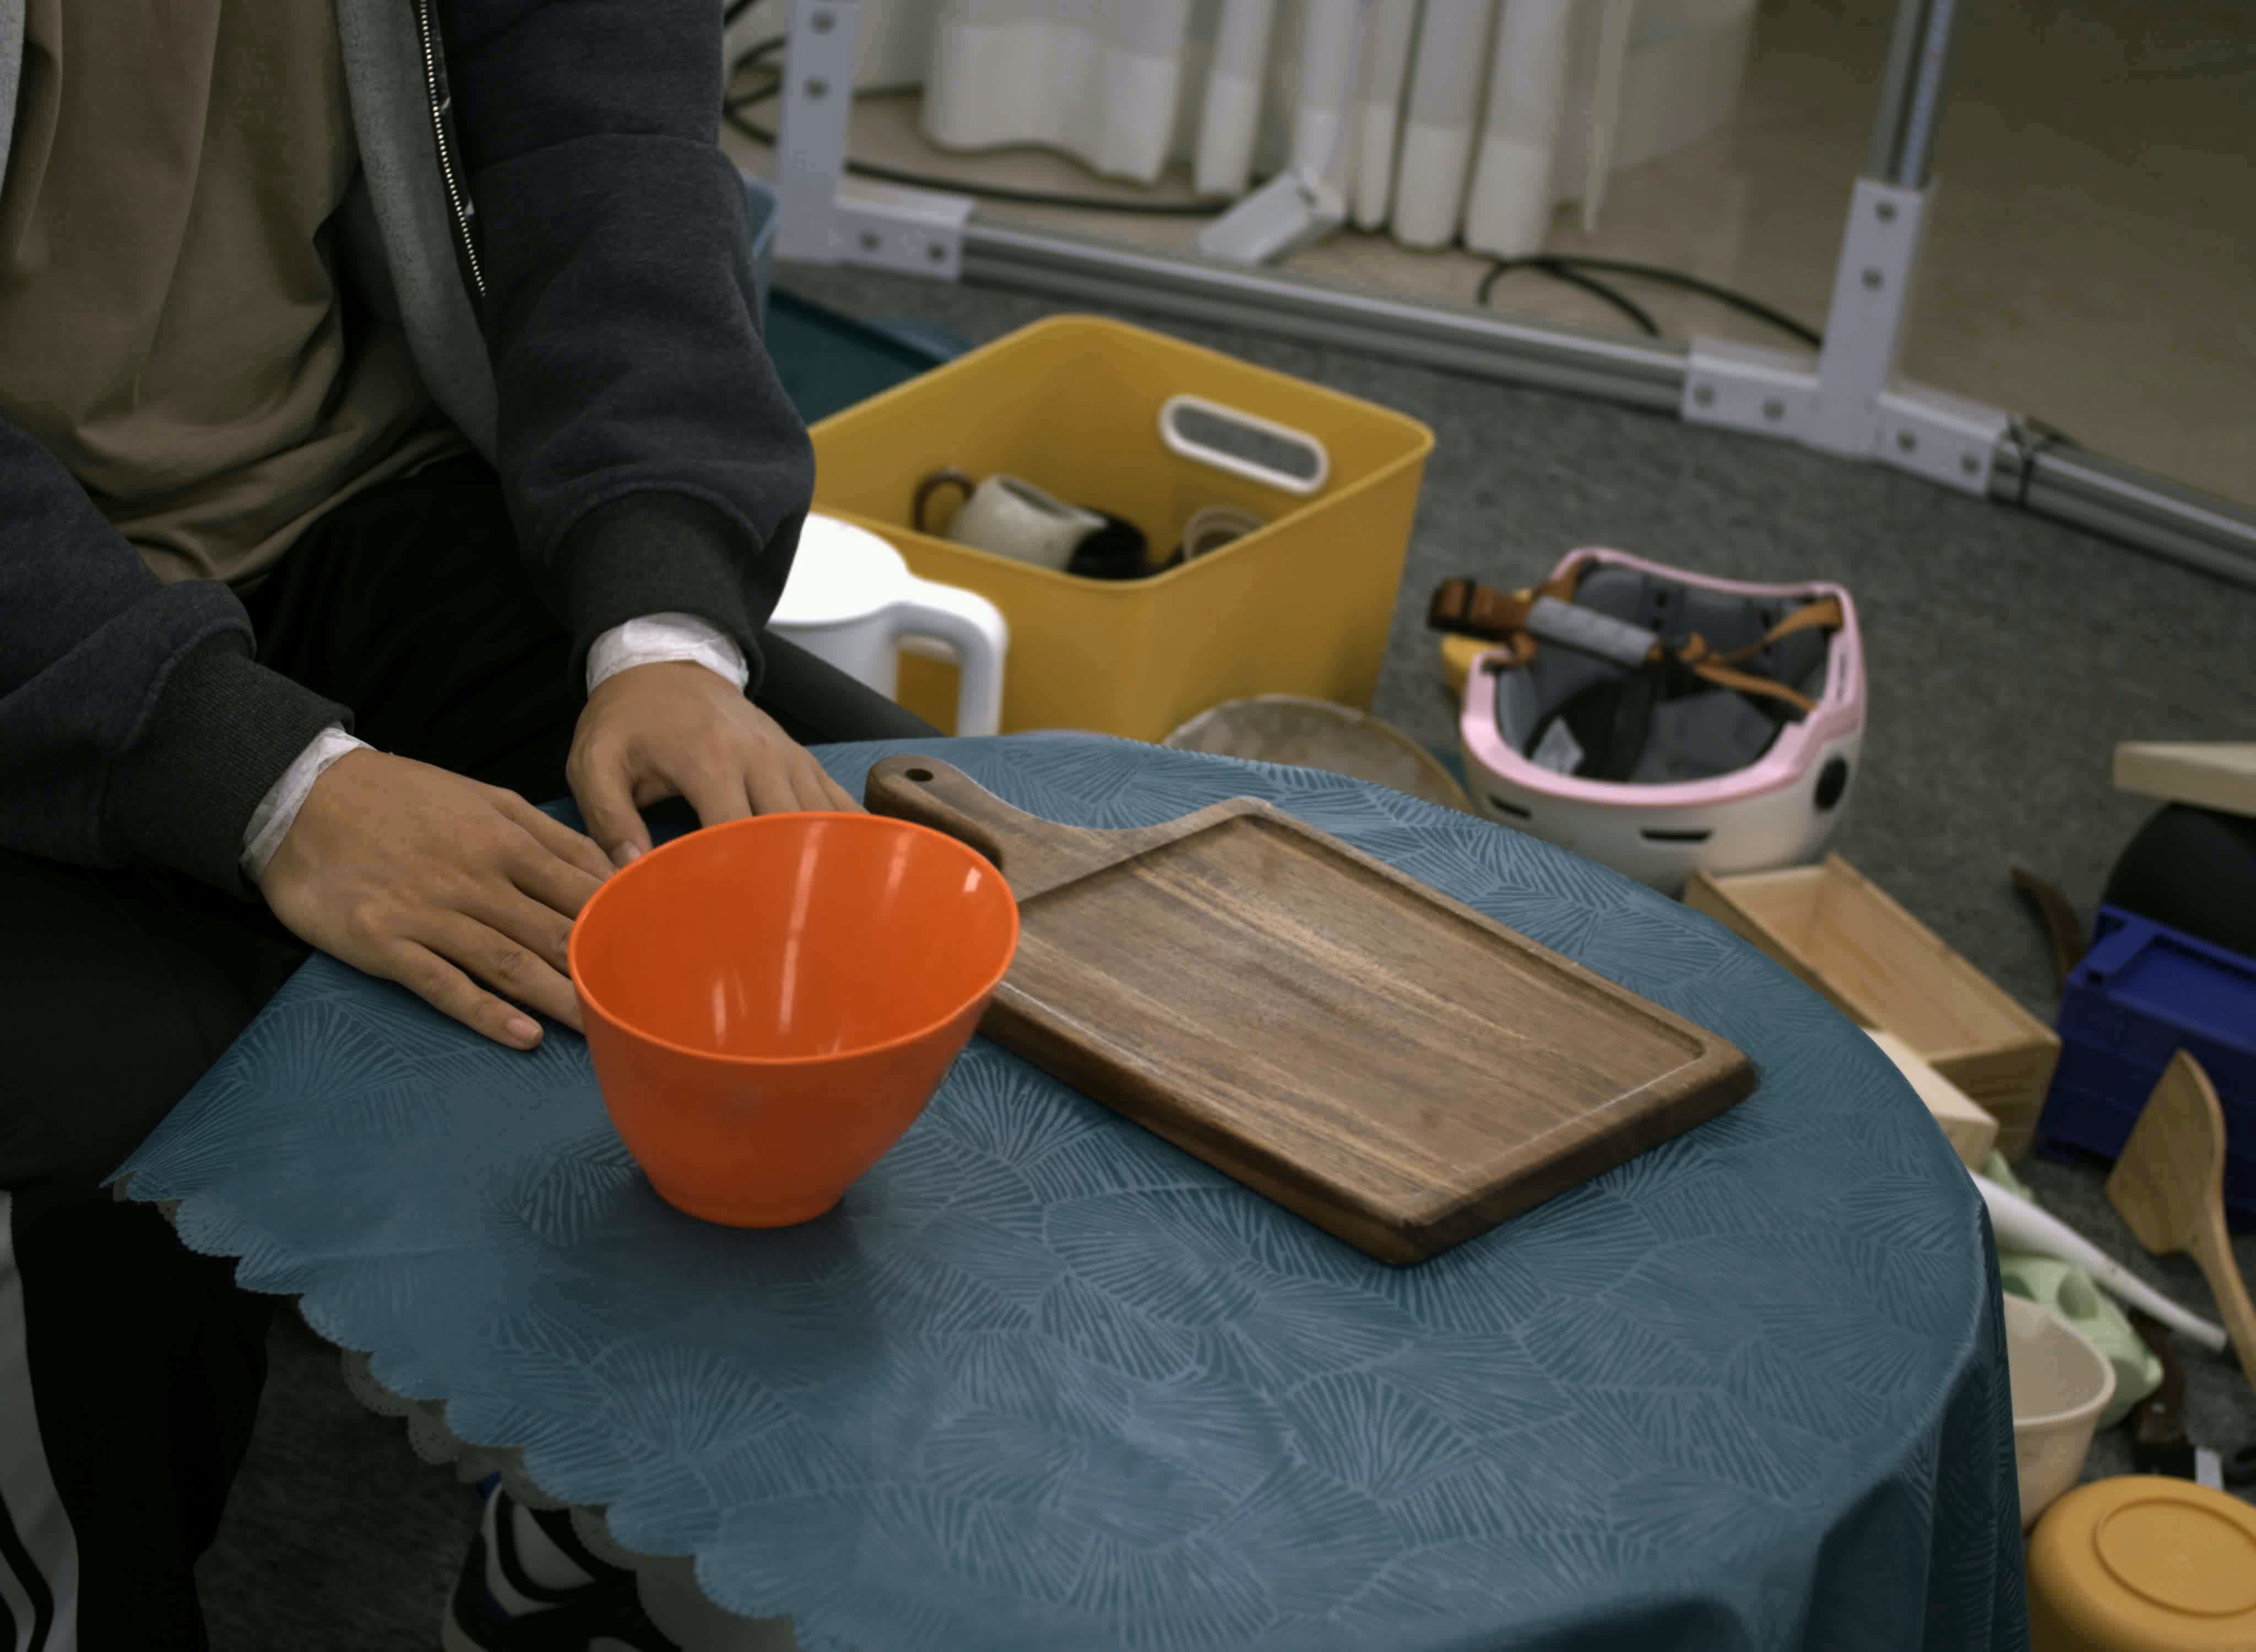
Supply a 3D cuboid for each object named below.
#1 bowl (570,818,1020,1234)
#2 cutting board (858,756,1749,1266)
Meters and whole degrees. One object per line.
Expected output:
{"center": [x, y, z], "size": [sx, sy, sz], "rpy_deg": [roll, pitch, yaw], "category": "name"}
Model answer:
{"center": [-0.113, 0.072, 1.766], "size": [0.147, 0.104, 0.149], "rpy_deg": [5, 27, -3], "category": "bowl"}
{"center": [0.032, 0.049, 1.933], "size": [0.355, 0.023, 0.200], "rpy_deg": [27, 33, 36], "category": "cutting board"}
